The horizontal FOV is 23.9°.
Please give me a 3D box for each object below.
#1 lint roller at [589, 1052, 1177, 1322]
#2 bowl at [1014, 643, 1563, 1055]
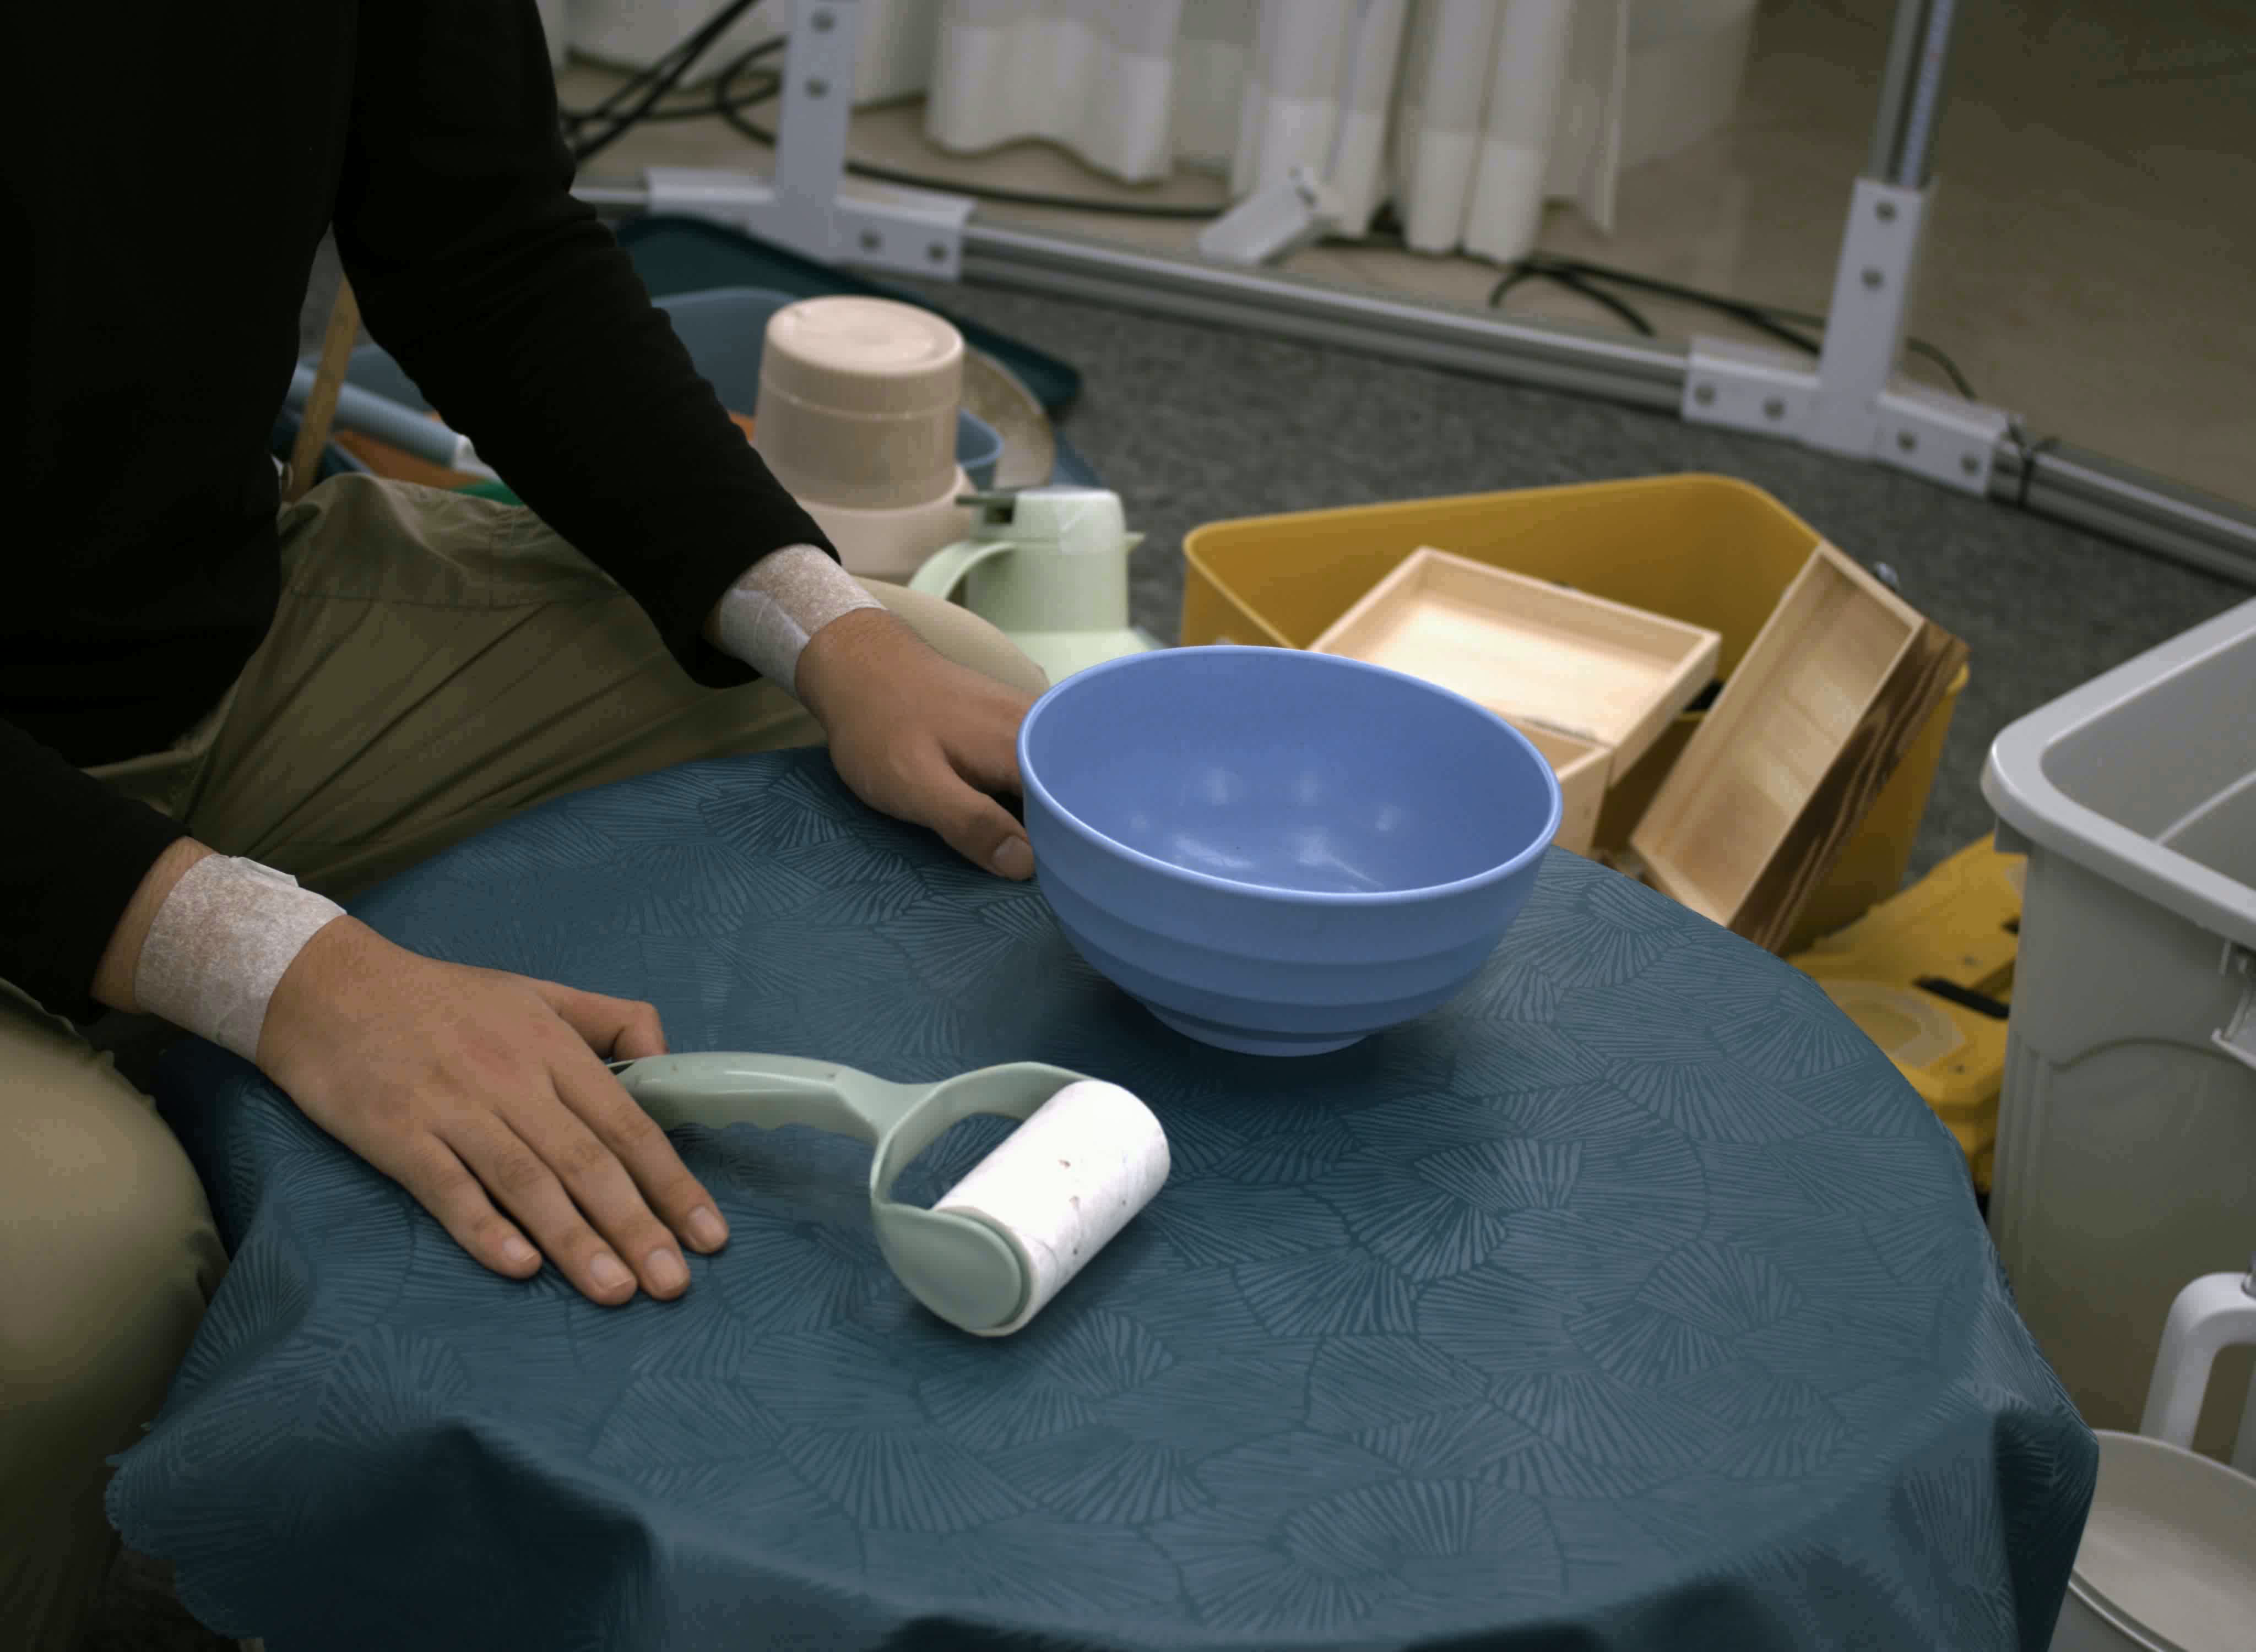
[{"bbox_3d":[-0.091,0.102,1.776,0.198,0.048,0.116,16,30,21],"label":"lint roller"},{"bbox_3d":[0.053,0.019,1.913,0.196,0.095,0.198,4,28,-3],"label":"bowl"}]
